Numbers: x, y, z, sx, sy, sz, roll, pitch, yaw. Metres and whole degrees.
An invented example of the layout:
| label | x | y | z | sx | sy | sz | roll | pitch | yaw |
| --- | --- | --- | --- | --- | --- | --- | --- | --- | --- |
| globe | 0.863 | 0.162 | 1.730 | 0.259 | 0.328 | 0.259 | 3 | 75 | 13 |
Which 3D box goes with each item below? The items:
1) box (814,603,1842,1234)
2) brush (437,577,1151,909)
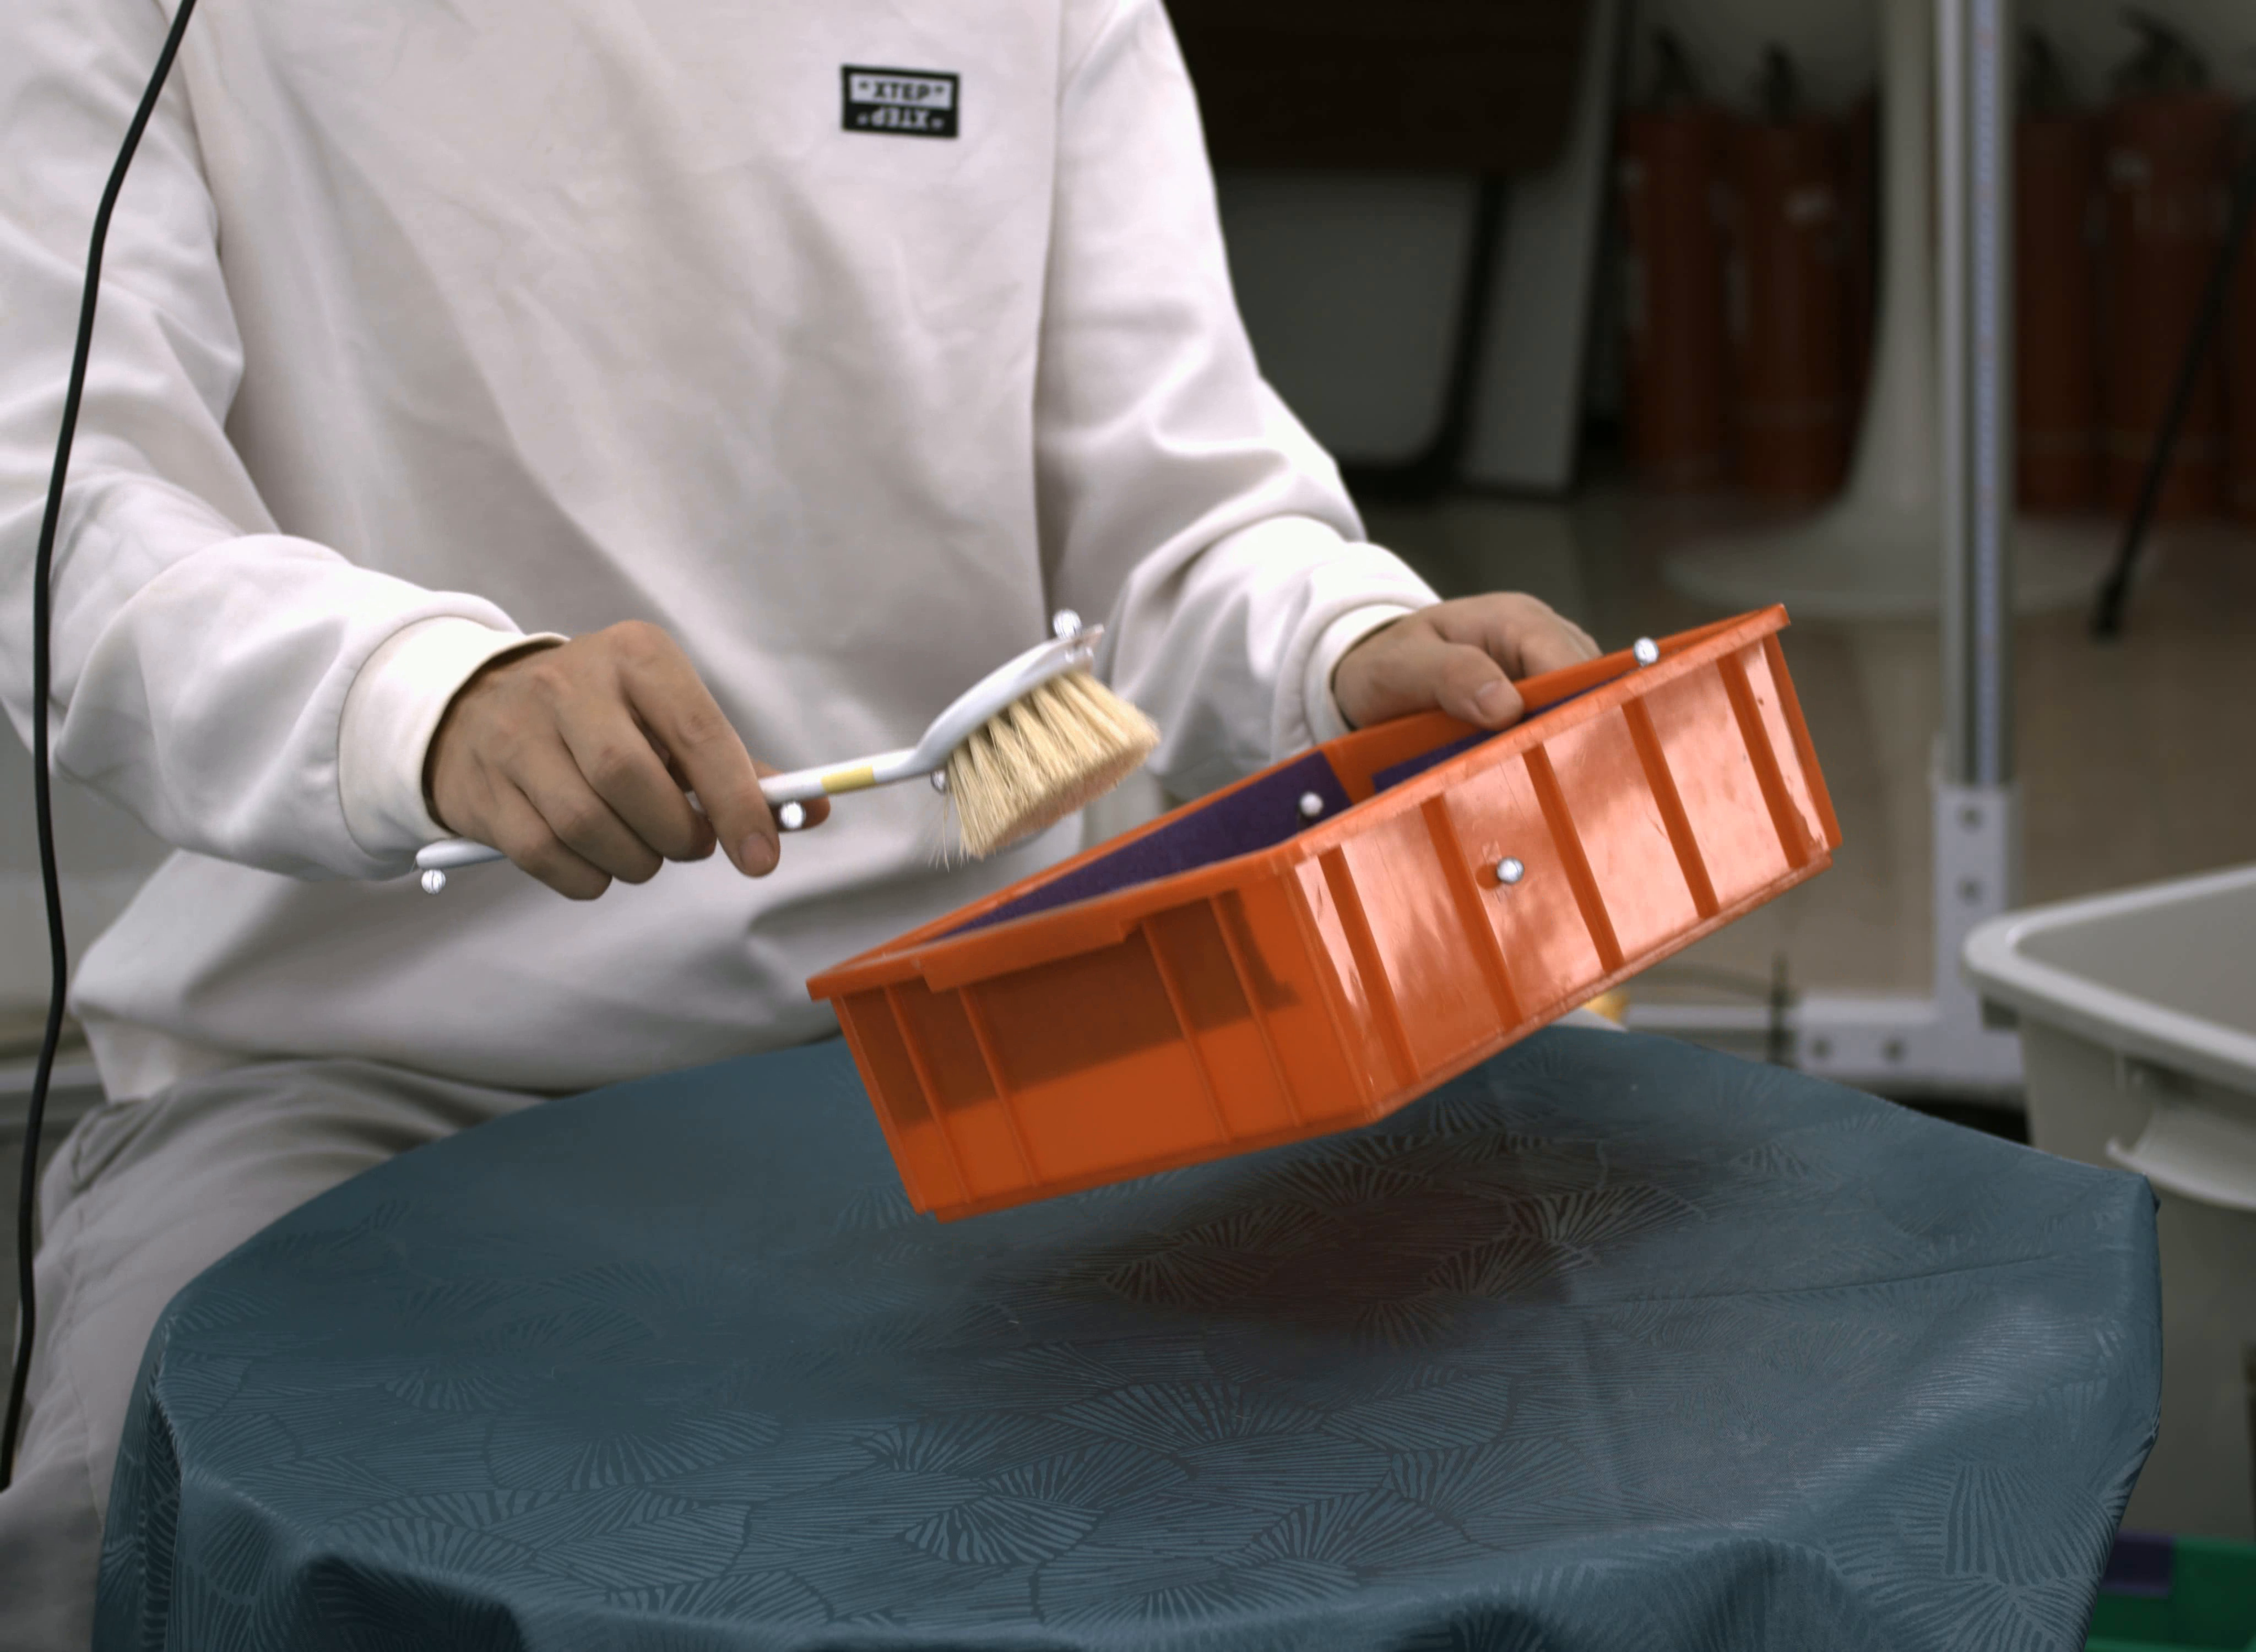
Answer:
| label | x | y | z | sx | sy | sz | roll | pitch | yaw |
| --- | --- | --- | --- | --- | --- | --- | --- | --- | --- |
| box | 0.071 | 0.031 | 1.708 | 0.208 | 0.097 | 0.298 | -19 | 2 | 43 |
| brush | -0.105 | -0.002 | 1.652 | 0.268 | 0.057 | 0.067 | -25 | -16 | 31 |
